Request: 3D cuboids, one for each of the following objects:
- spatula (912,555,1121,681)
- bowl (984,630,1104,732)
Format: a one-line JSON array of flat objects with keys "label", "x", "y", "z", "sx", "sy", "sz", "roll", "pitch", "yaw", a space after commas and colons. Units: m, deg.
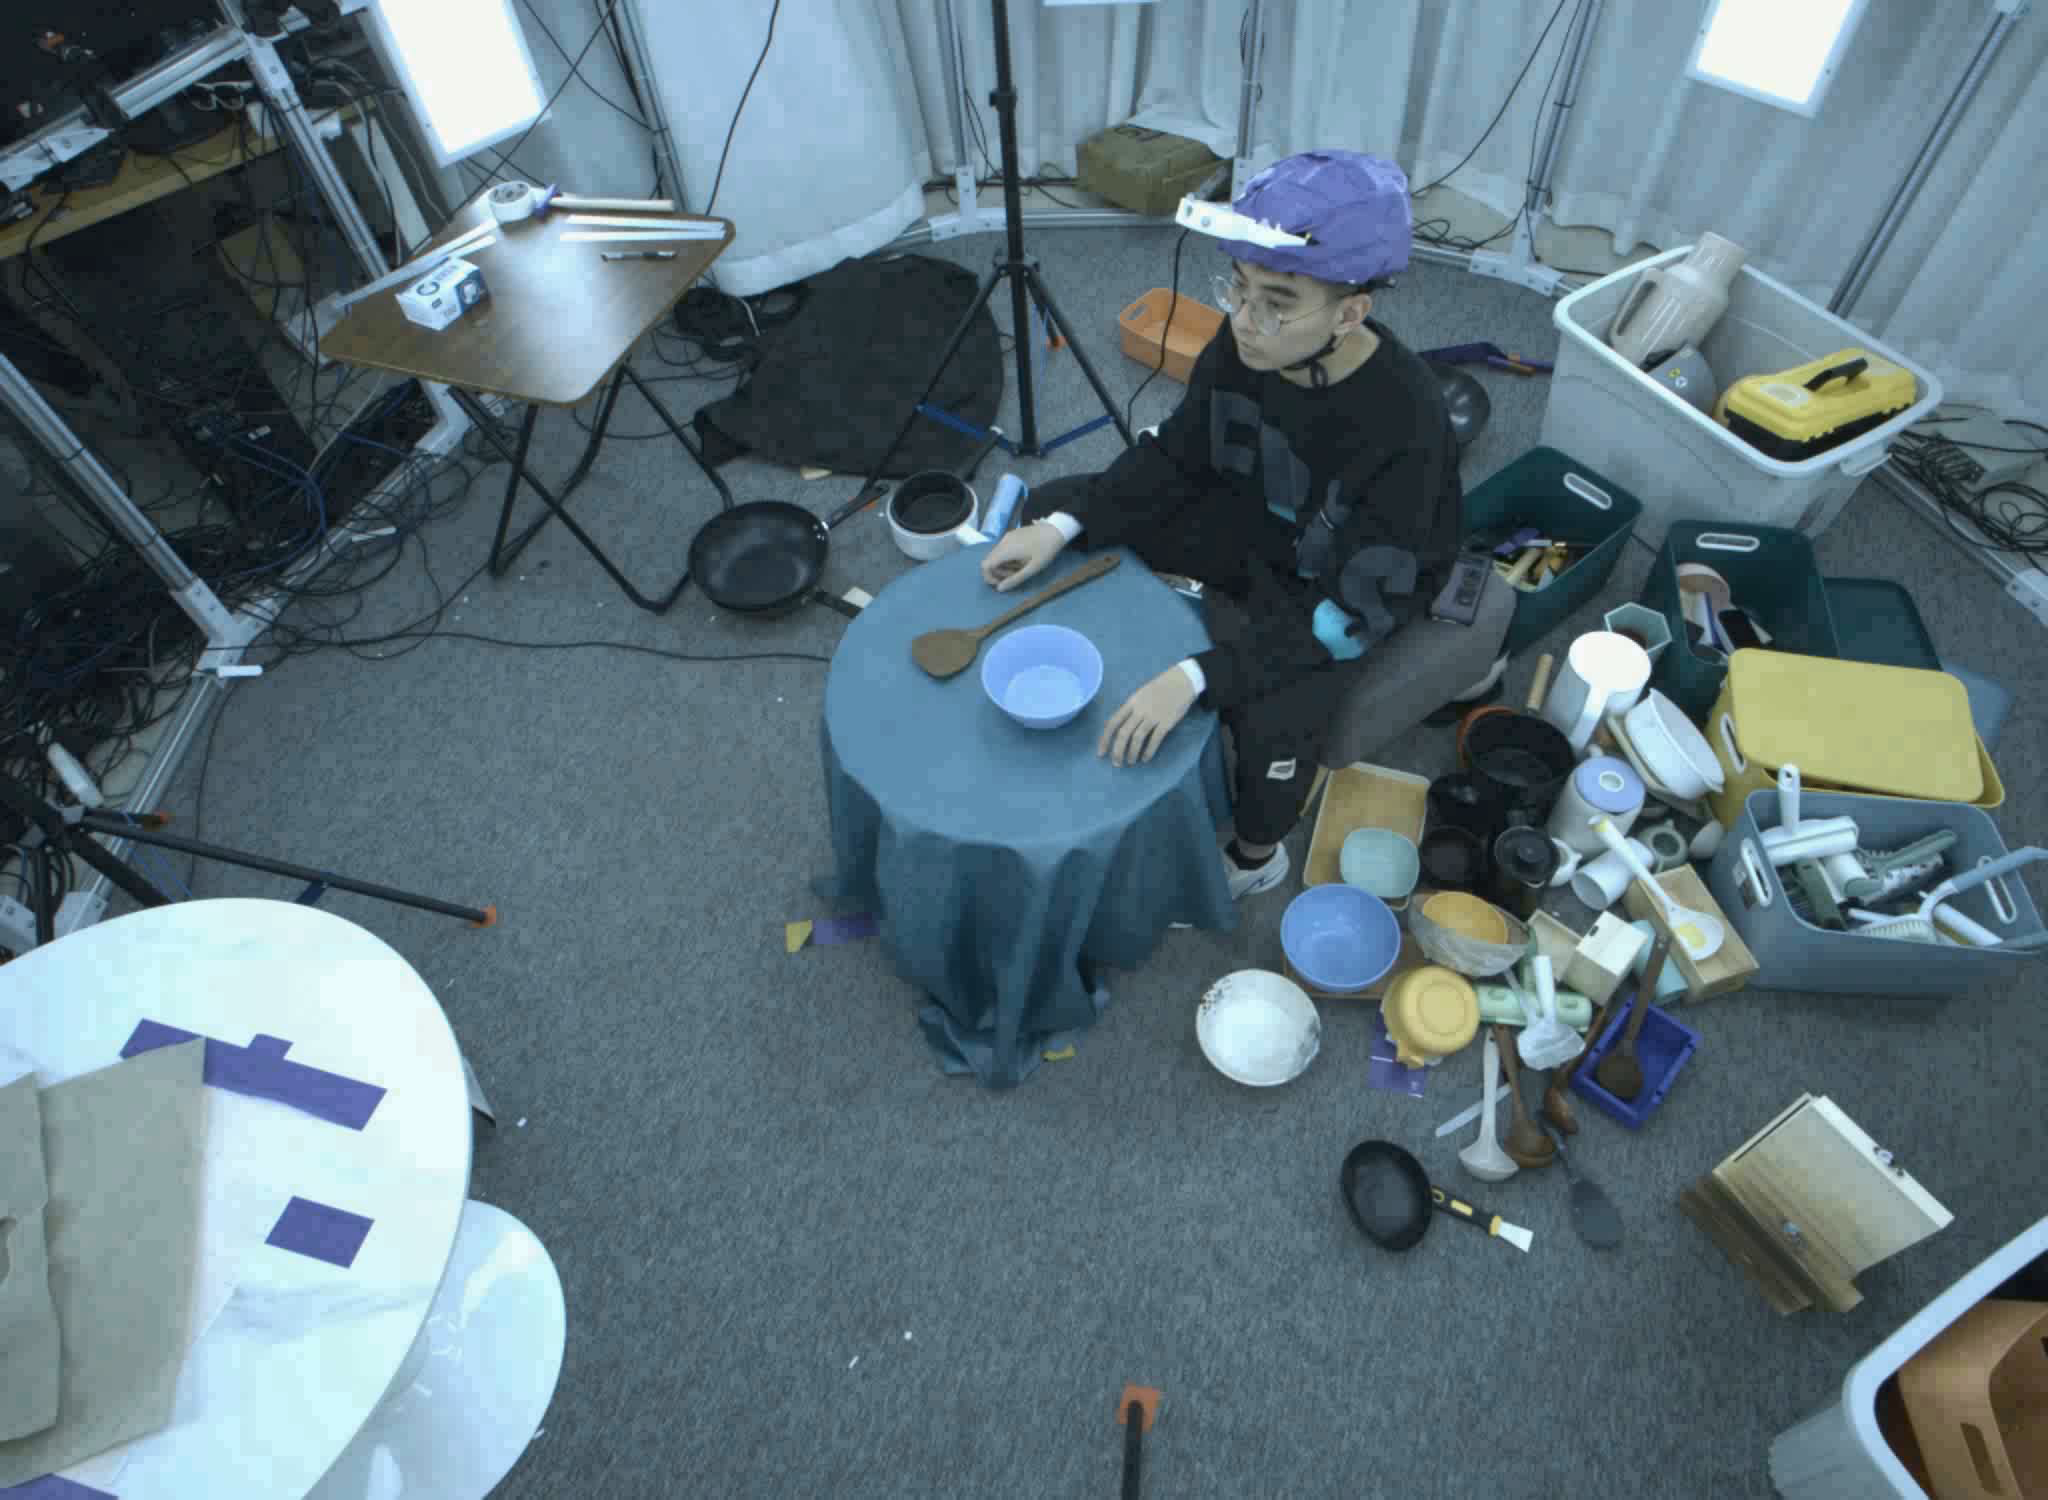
[{"label": "spatula", "x": -0.001, "y": -0.221, "z": 1.945, "sx": 0.389, "sy": 0.016, "sz": 0.094, "roll": -31, "pitch": 60, "yaw": -19}, {"label": "bowl", "x": 0.030, "y": -0.092, "z": 1.819, "sx": 0.176, "sy": 0.071, "sz": 0.174, "roll": 0, "pitch": 54, "yaw": 1}]
